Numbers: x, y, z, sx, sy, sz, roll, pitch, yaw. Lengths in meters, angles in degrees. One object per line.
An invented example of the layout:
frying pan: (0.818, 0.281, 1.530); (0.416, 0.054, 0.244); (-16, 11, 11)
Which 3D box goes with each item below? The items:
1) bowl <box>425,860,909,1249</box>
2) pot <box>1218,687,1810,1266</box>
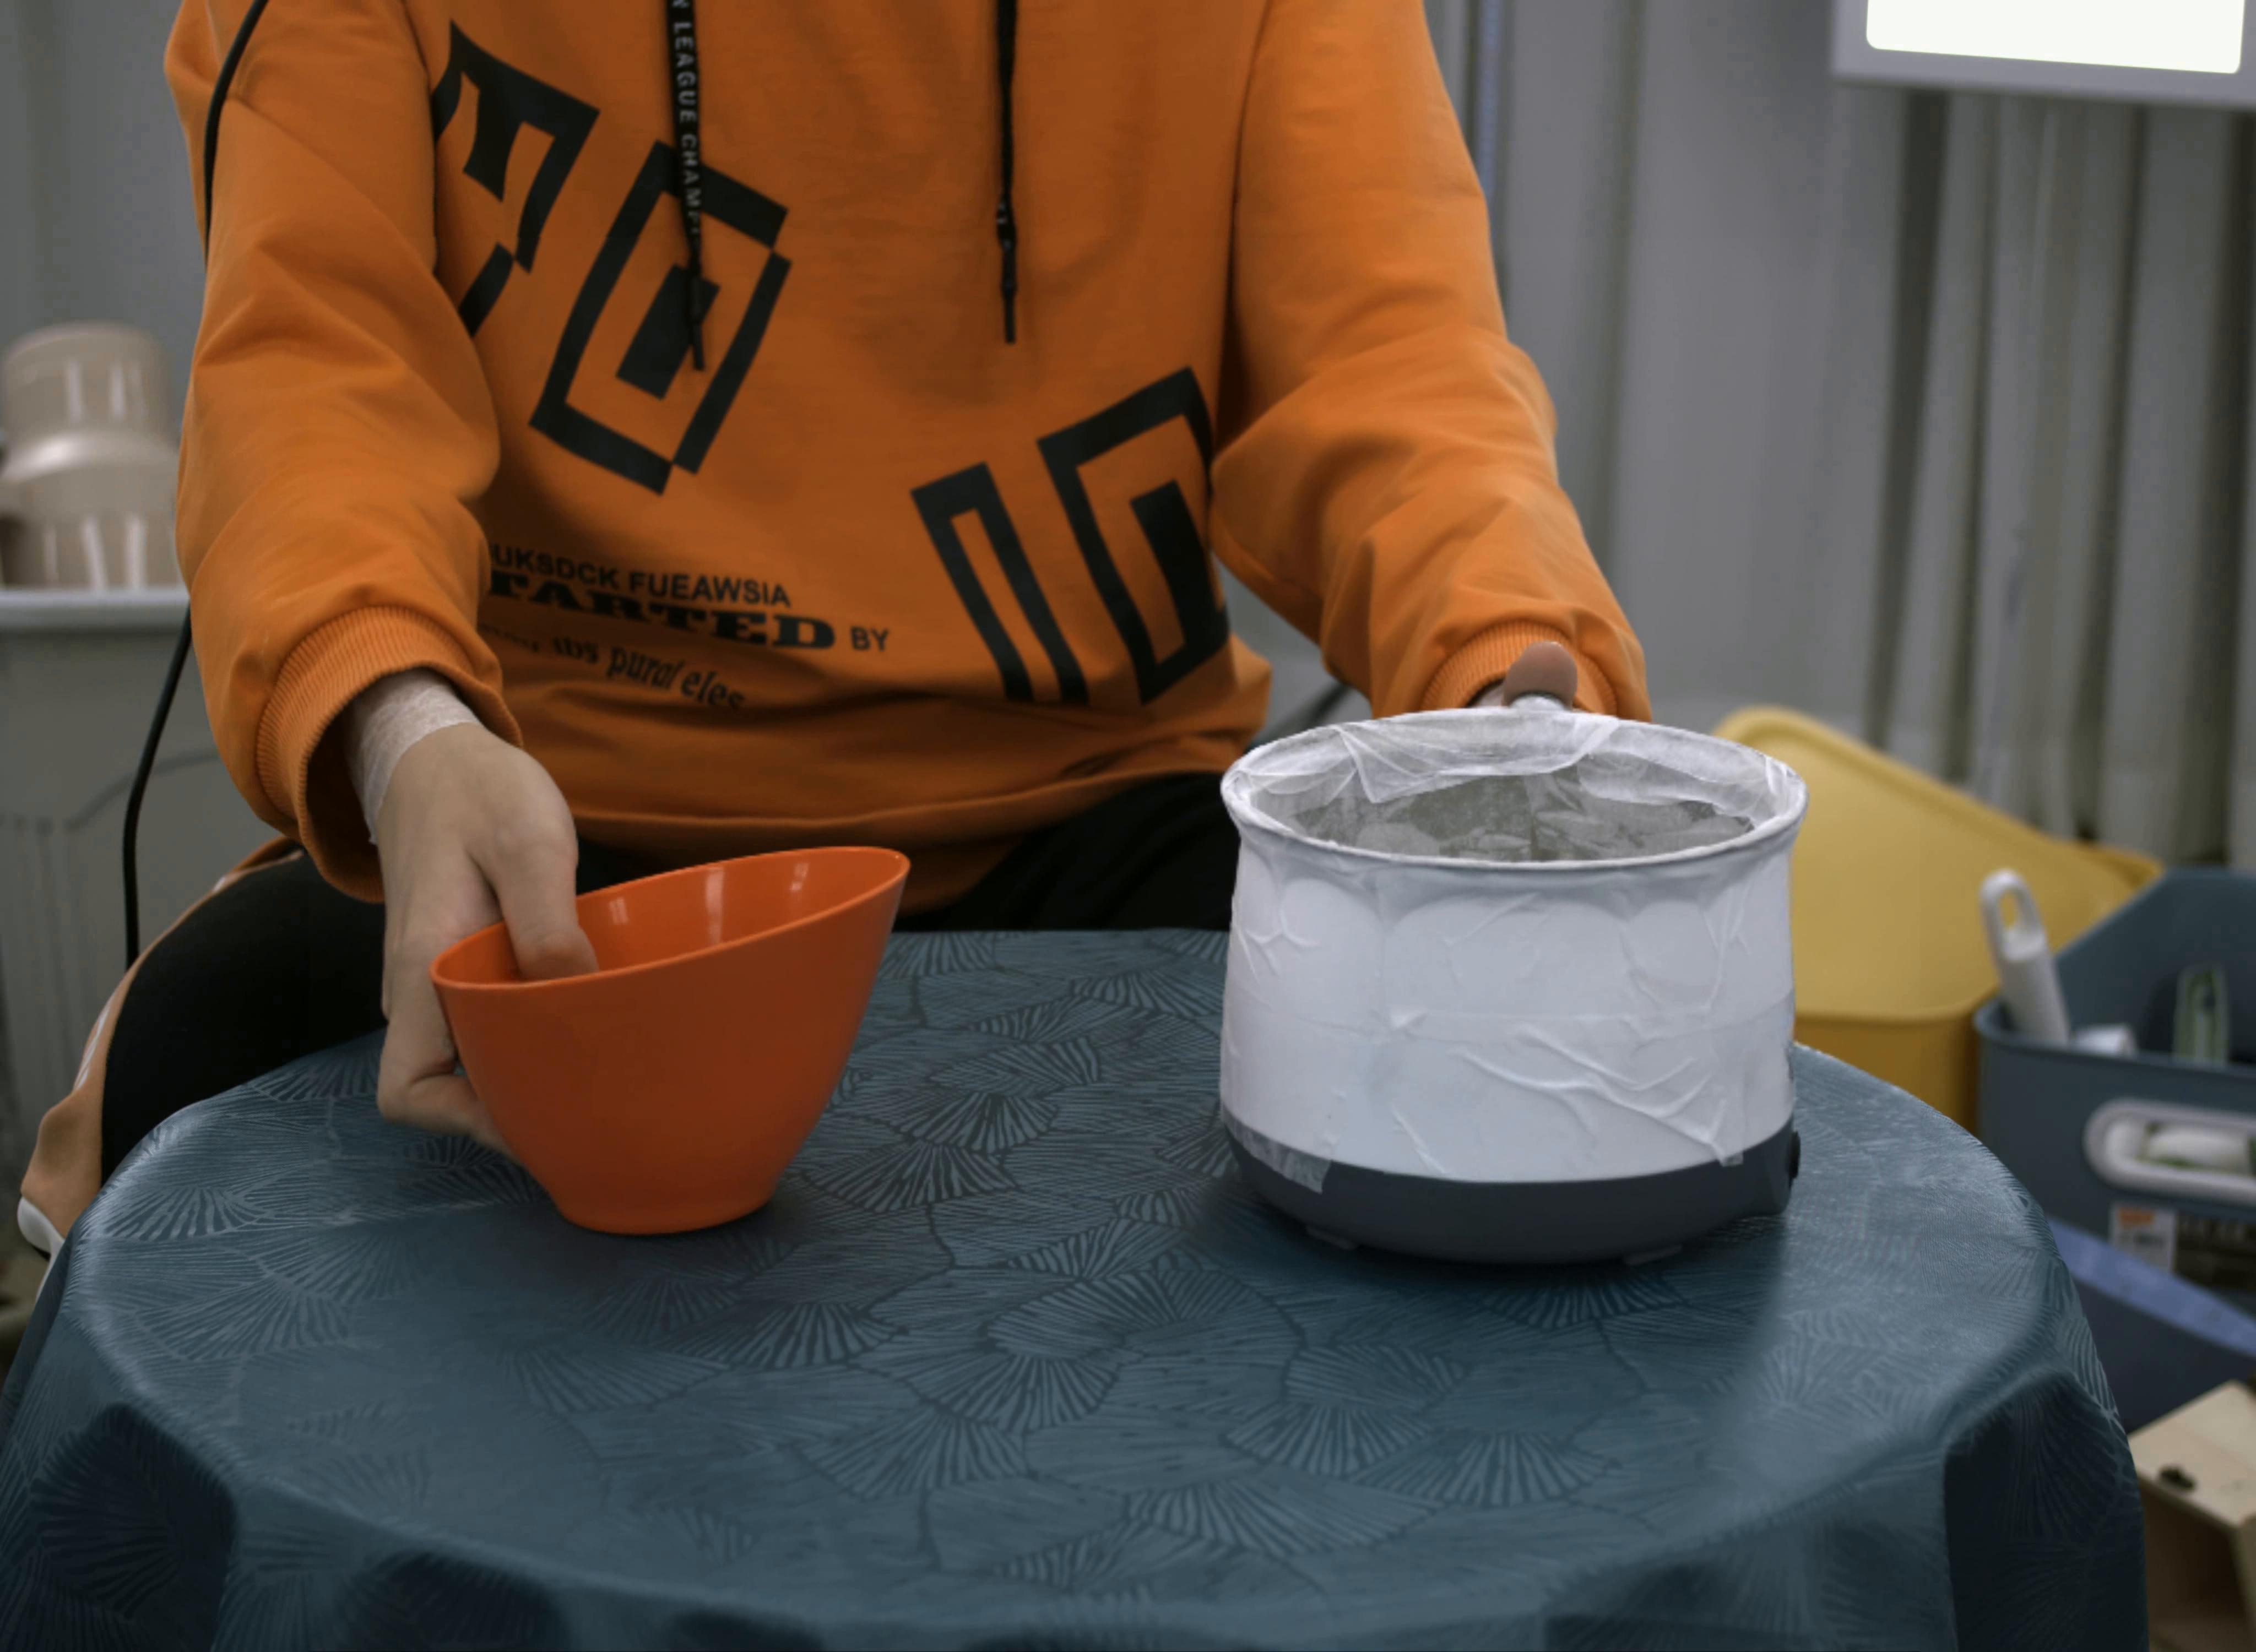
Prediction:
bowl: (-0.135, 0.069, 1.586); (0.147, 0.105, 0.147); (-5, 14, 2)
pot: (0.119, 0.041, 1.625); (0.178, 0.138, 0.233); (3, 16, 6)
